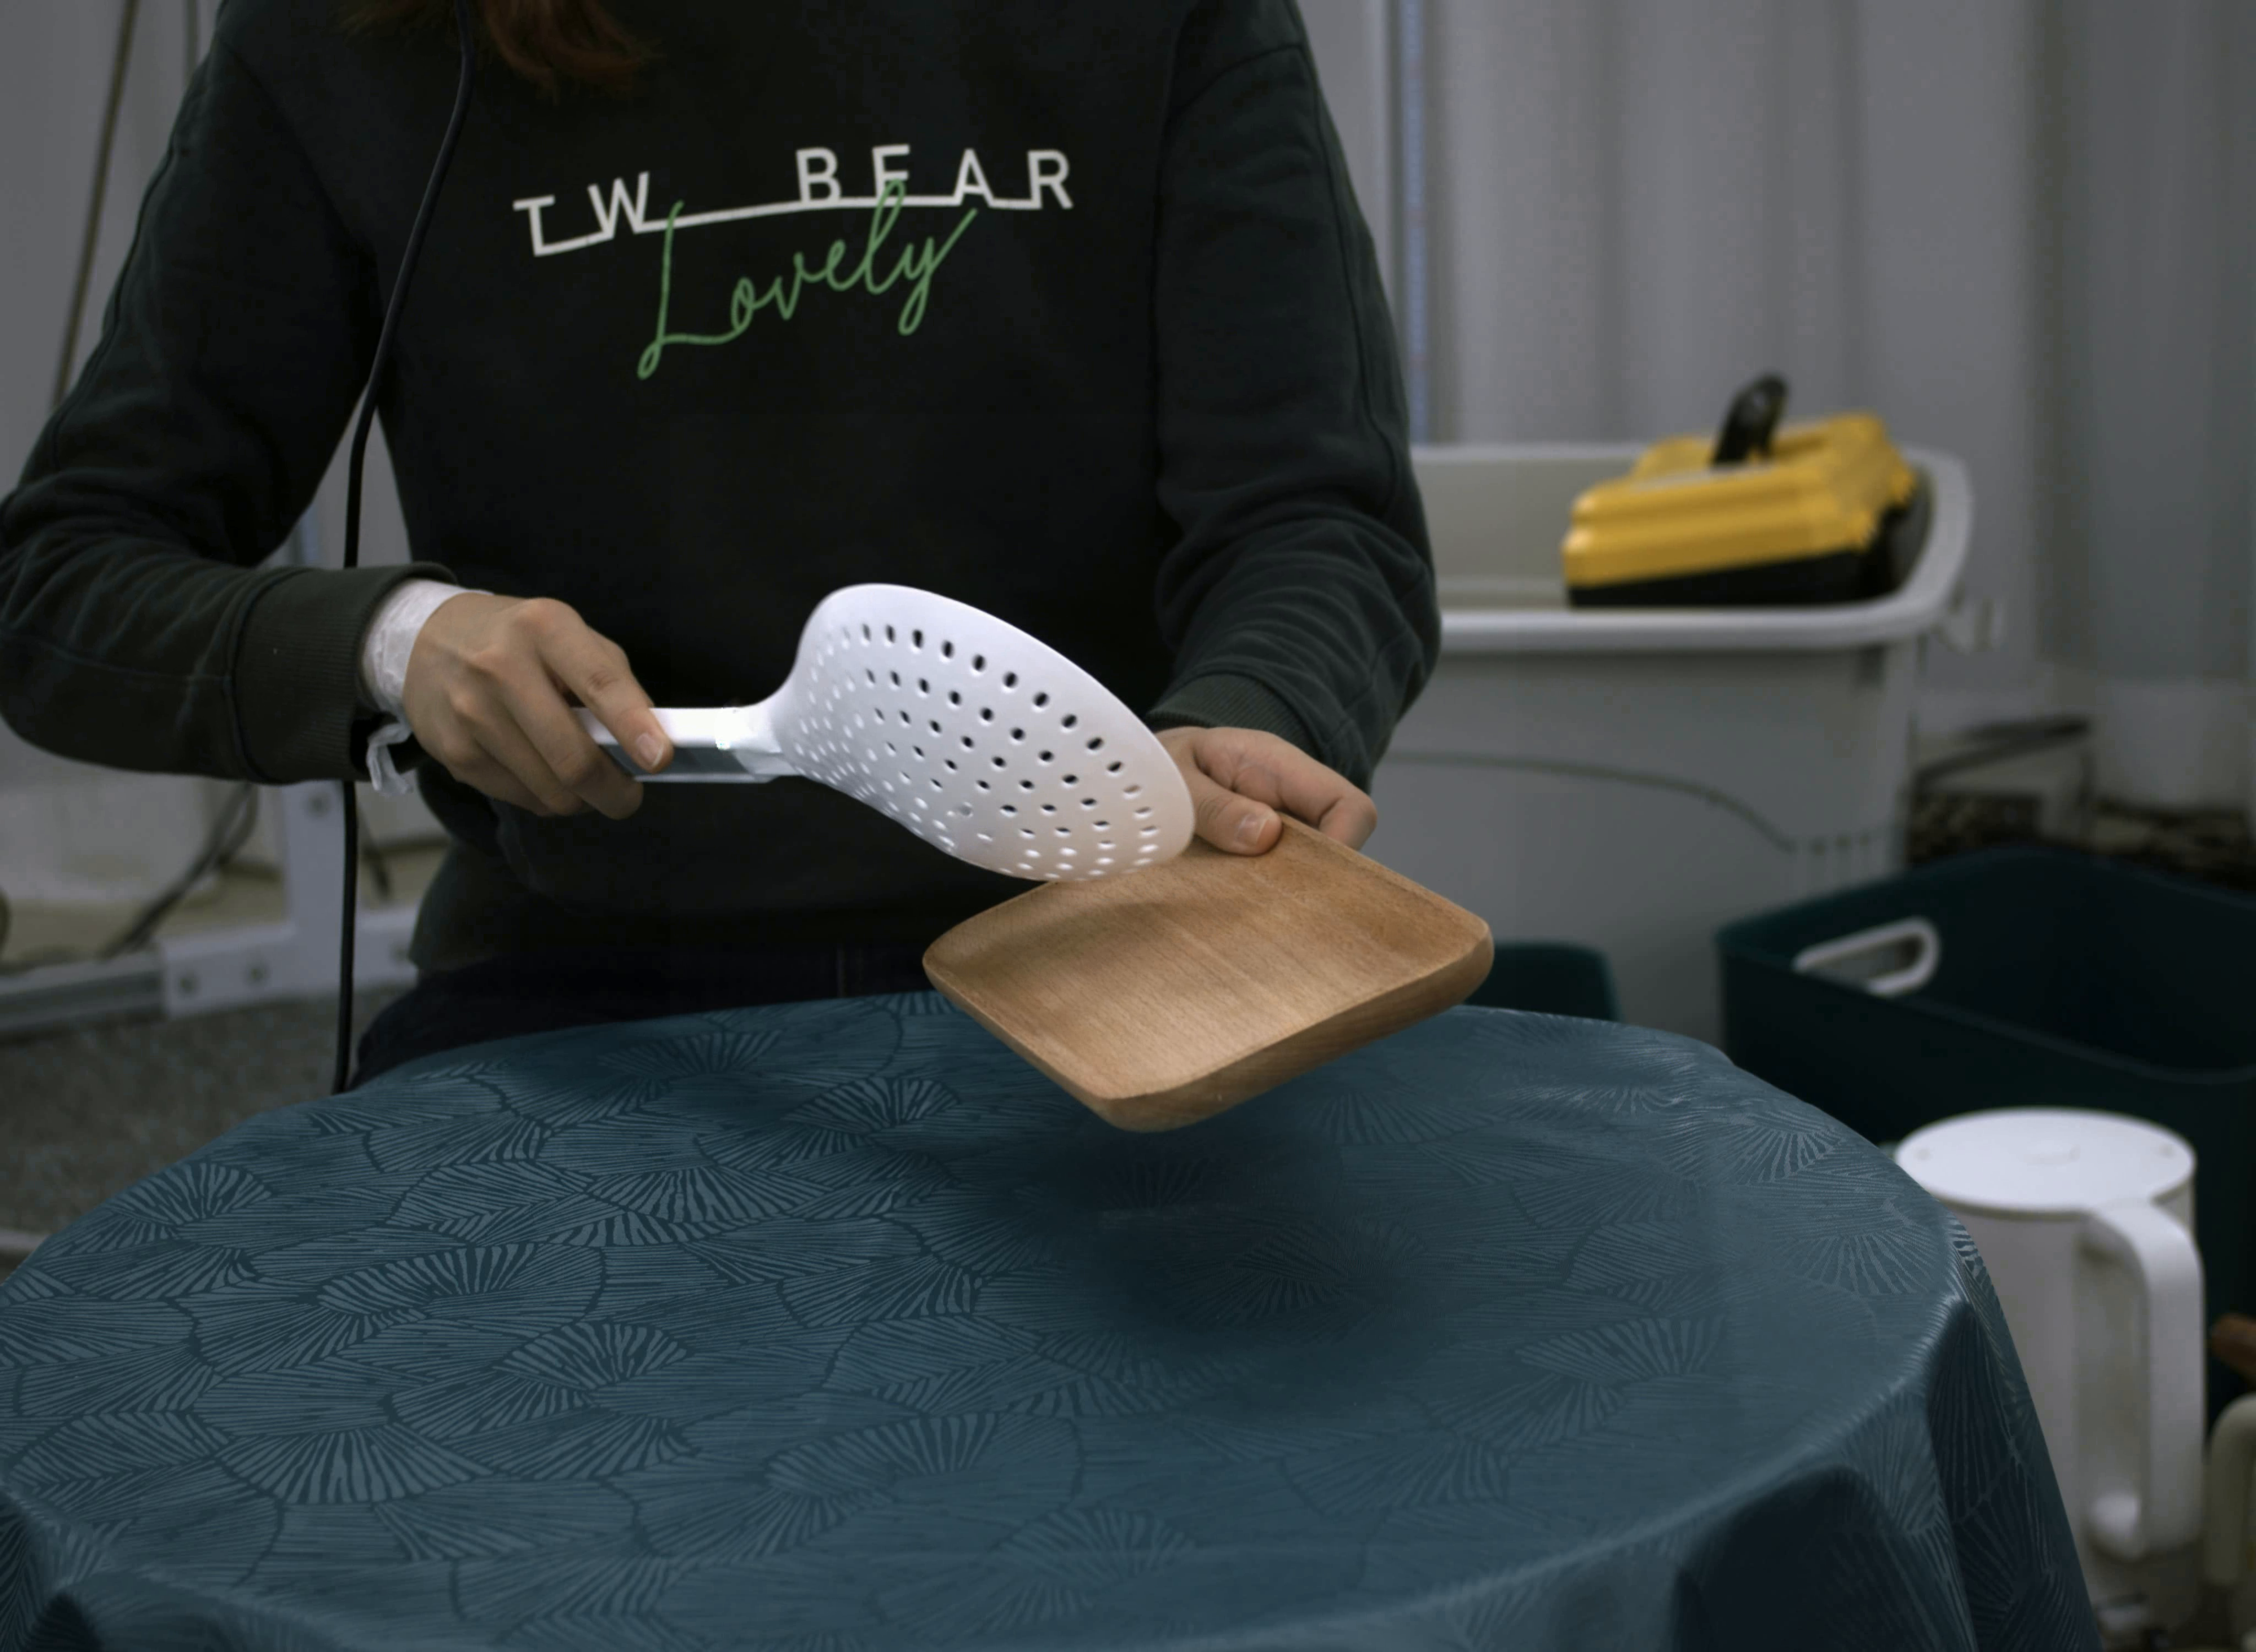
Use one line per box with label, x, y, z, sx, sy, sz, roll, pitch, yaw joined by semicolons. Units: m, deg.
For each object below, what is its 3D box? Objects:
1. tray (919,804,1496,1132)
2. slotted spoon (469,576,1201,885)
tray;0.021;0.041;1.660;0.130;0.023;0.252;-22;14;-12
slotted spoon;-0.110;-0.027;1.787;0.351;0.134;0.046;7;54;53
